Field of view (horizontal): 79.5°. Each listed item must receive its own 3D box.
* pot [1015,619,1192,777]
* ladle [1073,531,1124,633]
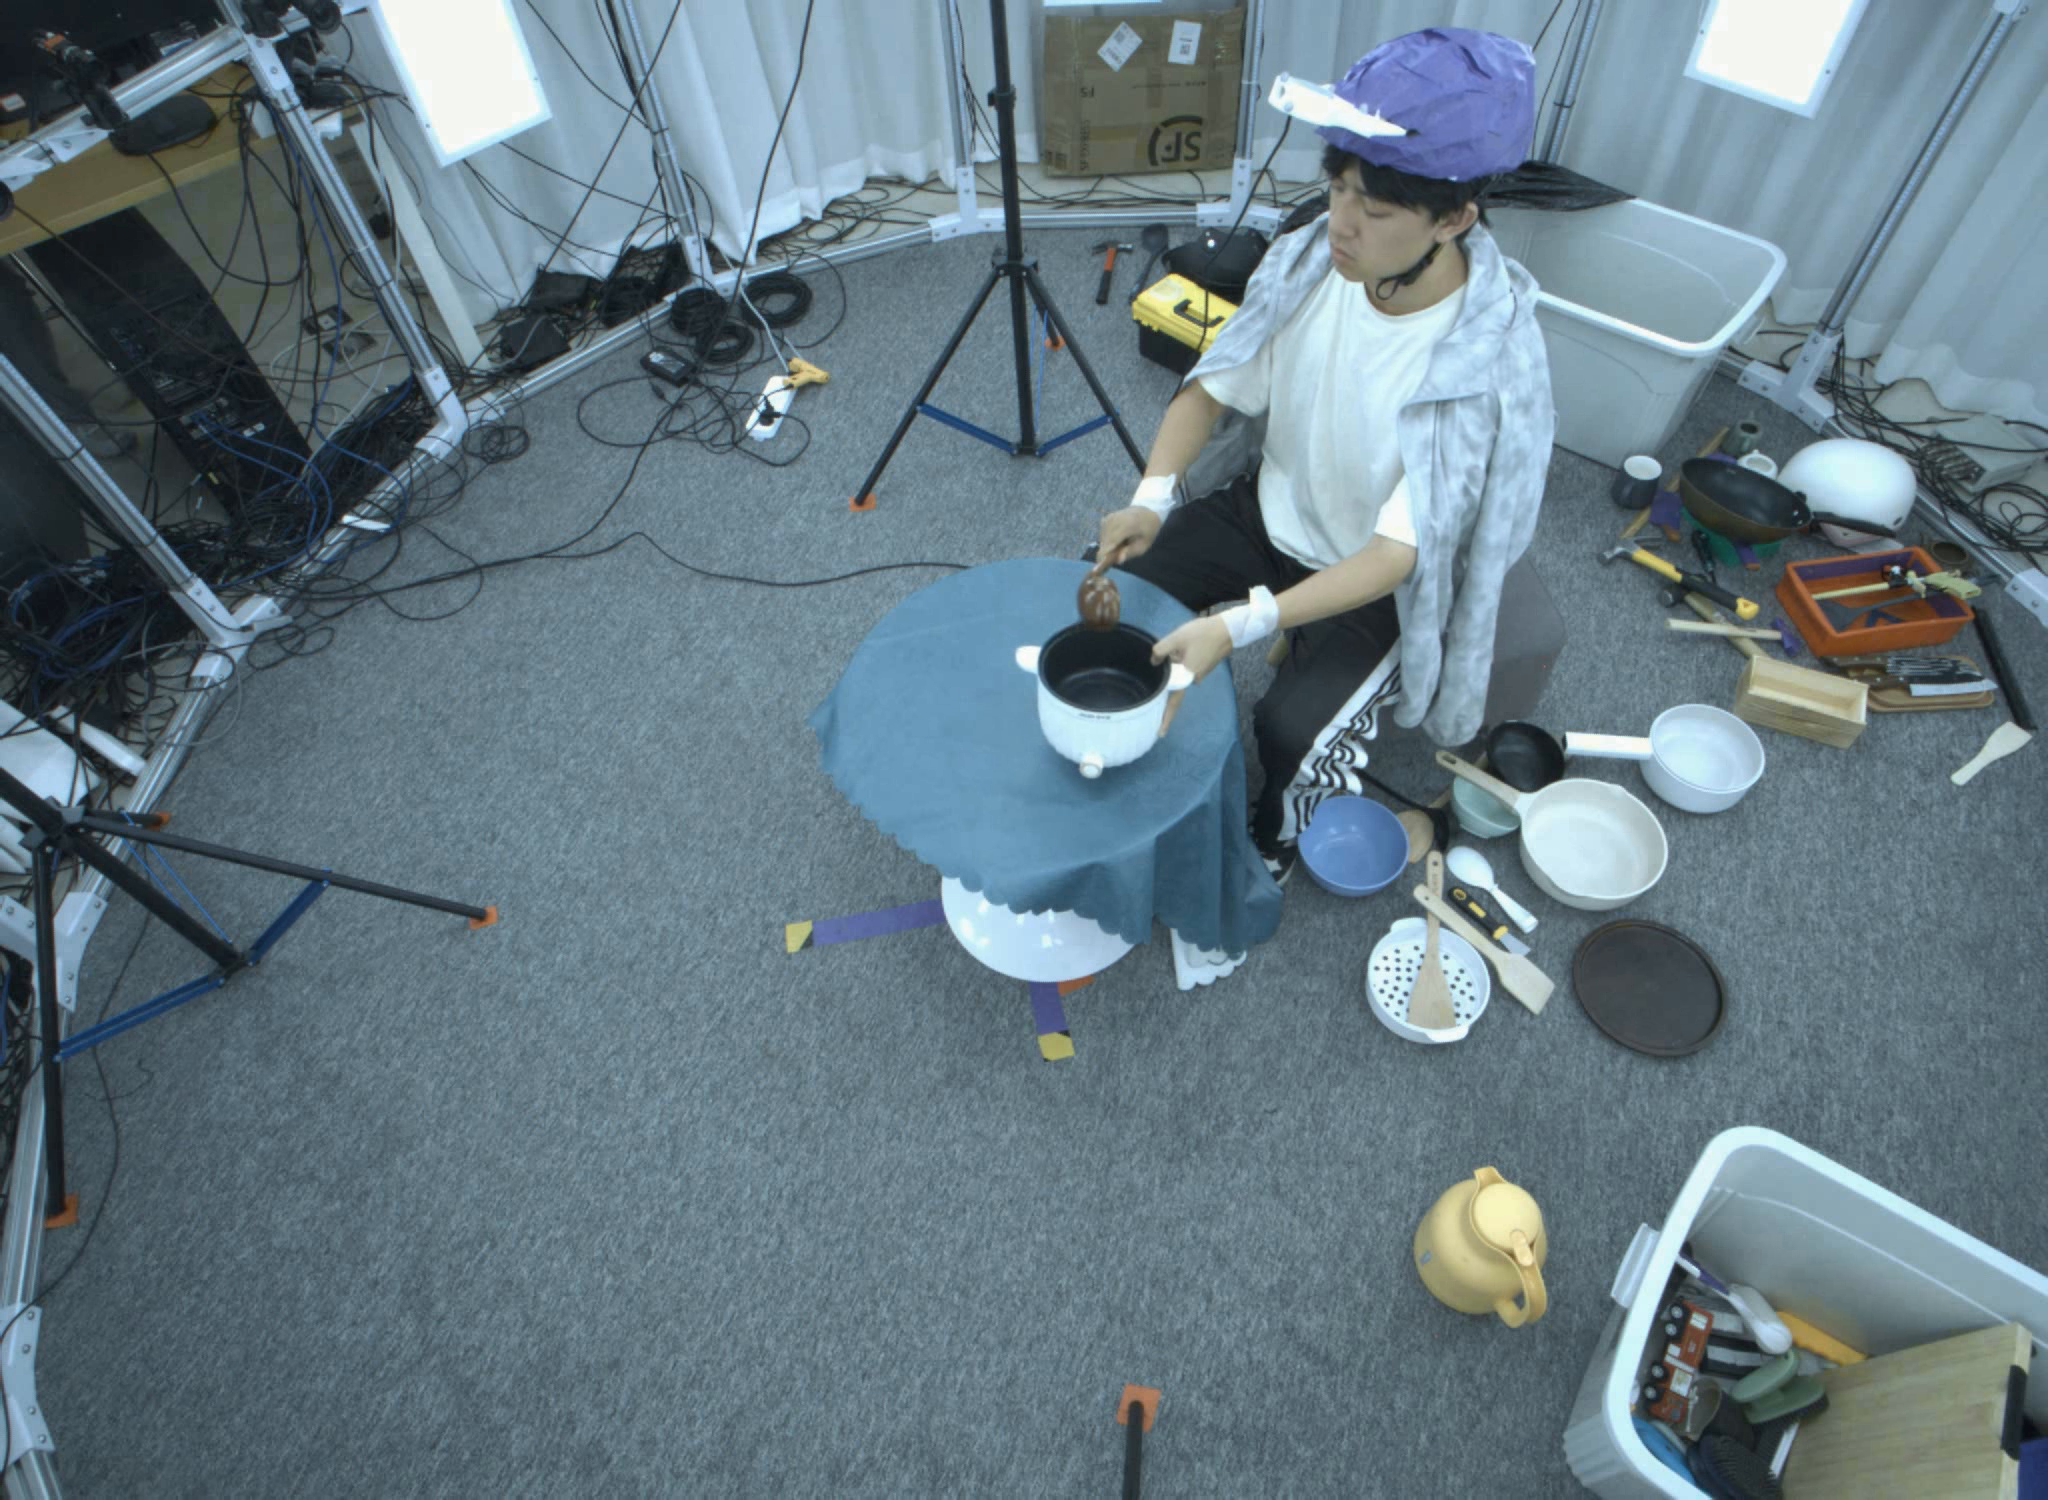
[{"bbox_3d":[0.107,-0.069,1.701,0.239,0.144,0.189,7,45,7],"label":"pot"},{"bbox_3d":[0.131,-0.251,1.764,0.076,0.082,0.275,29,34,4],"label":"ladle"}]
